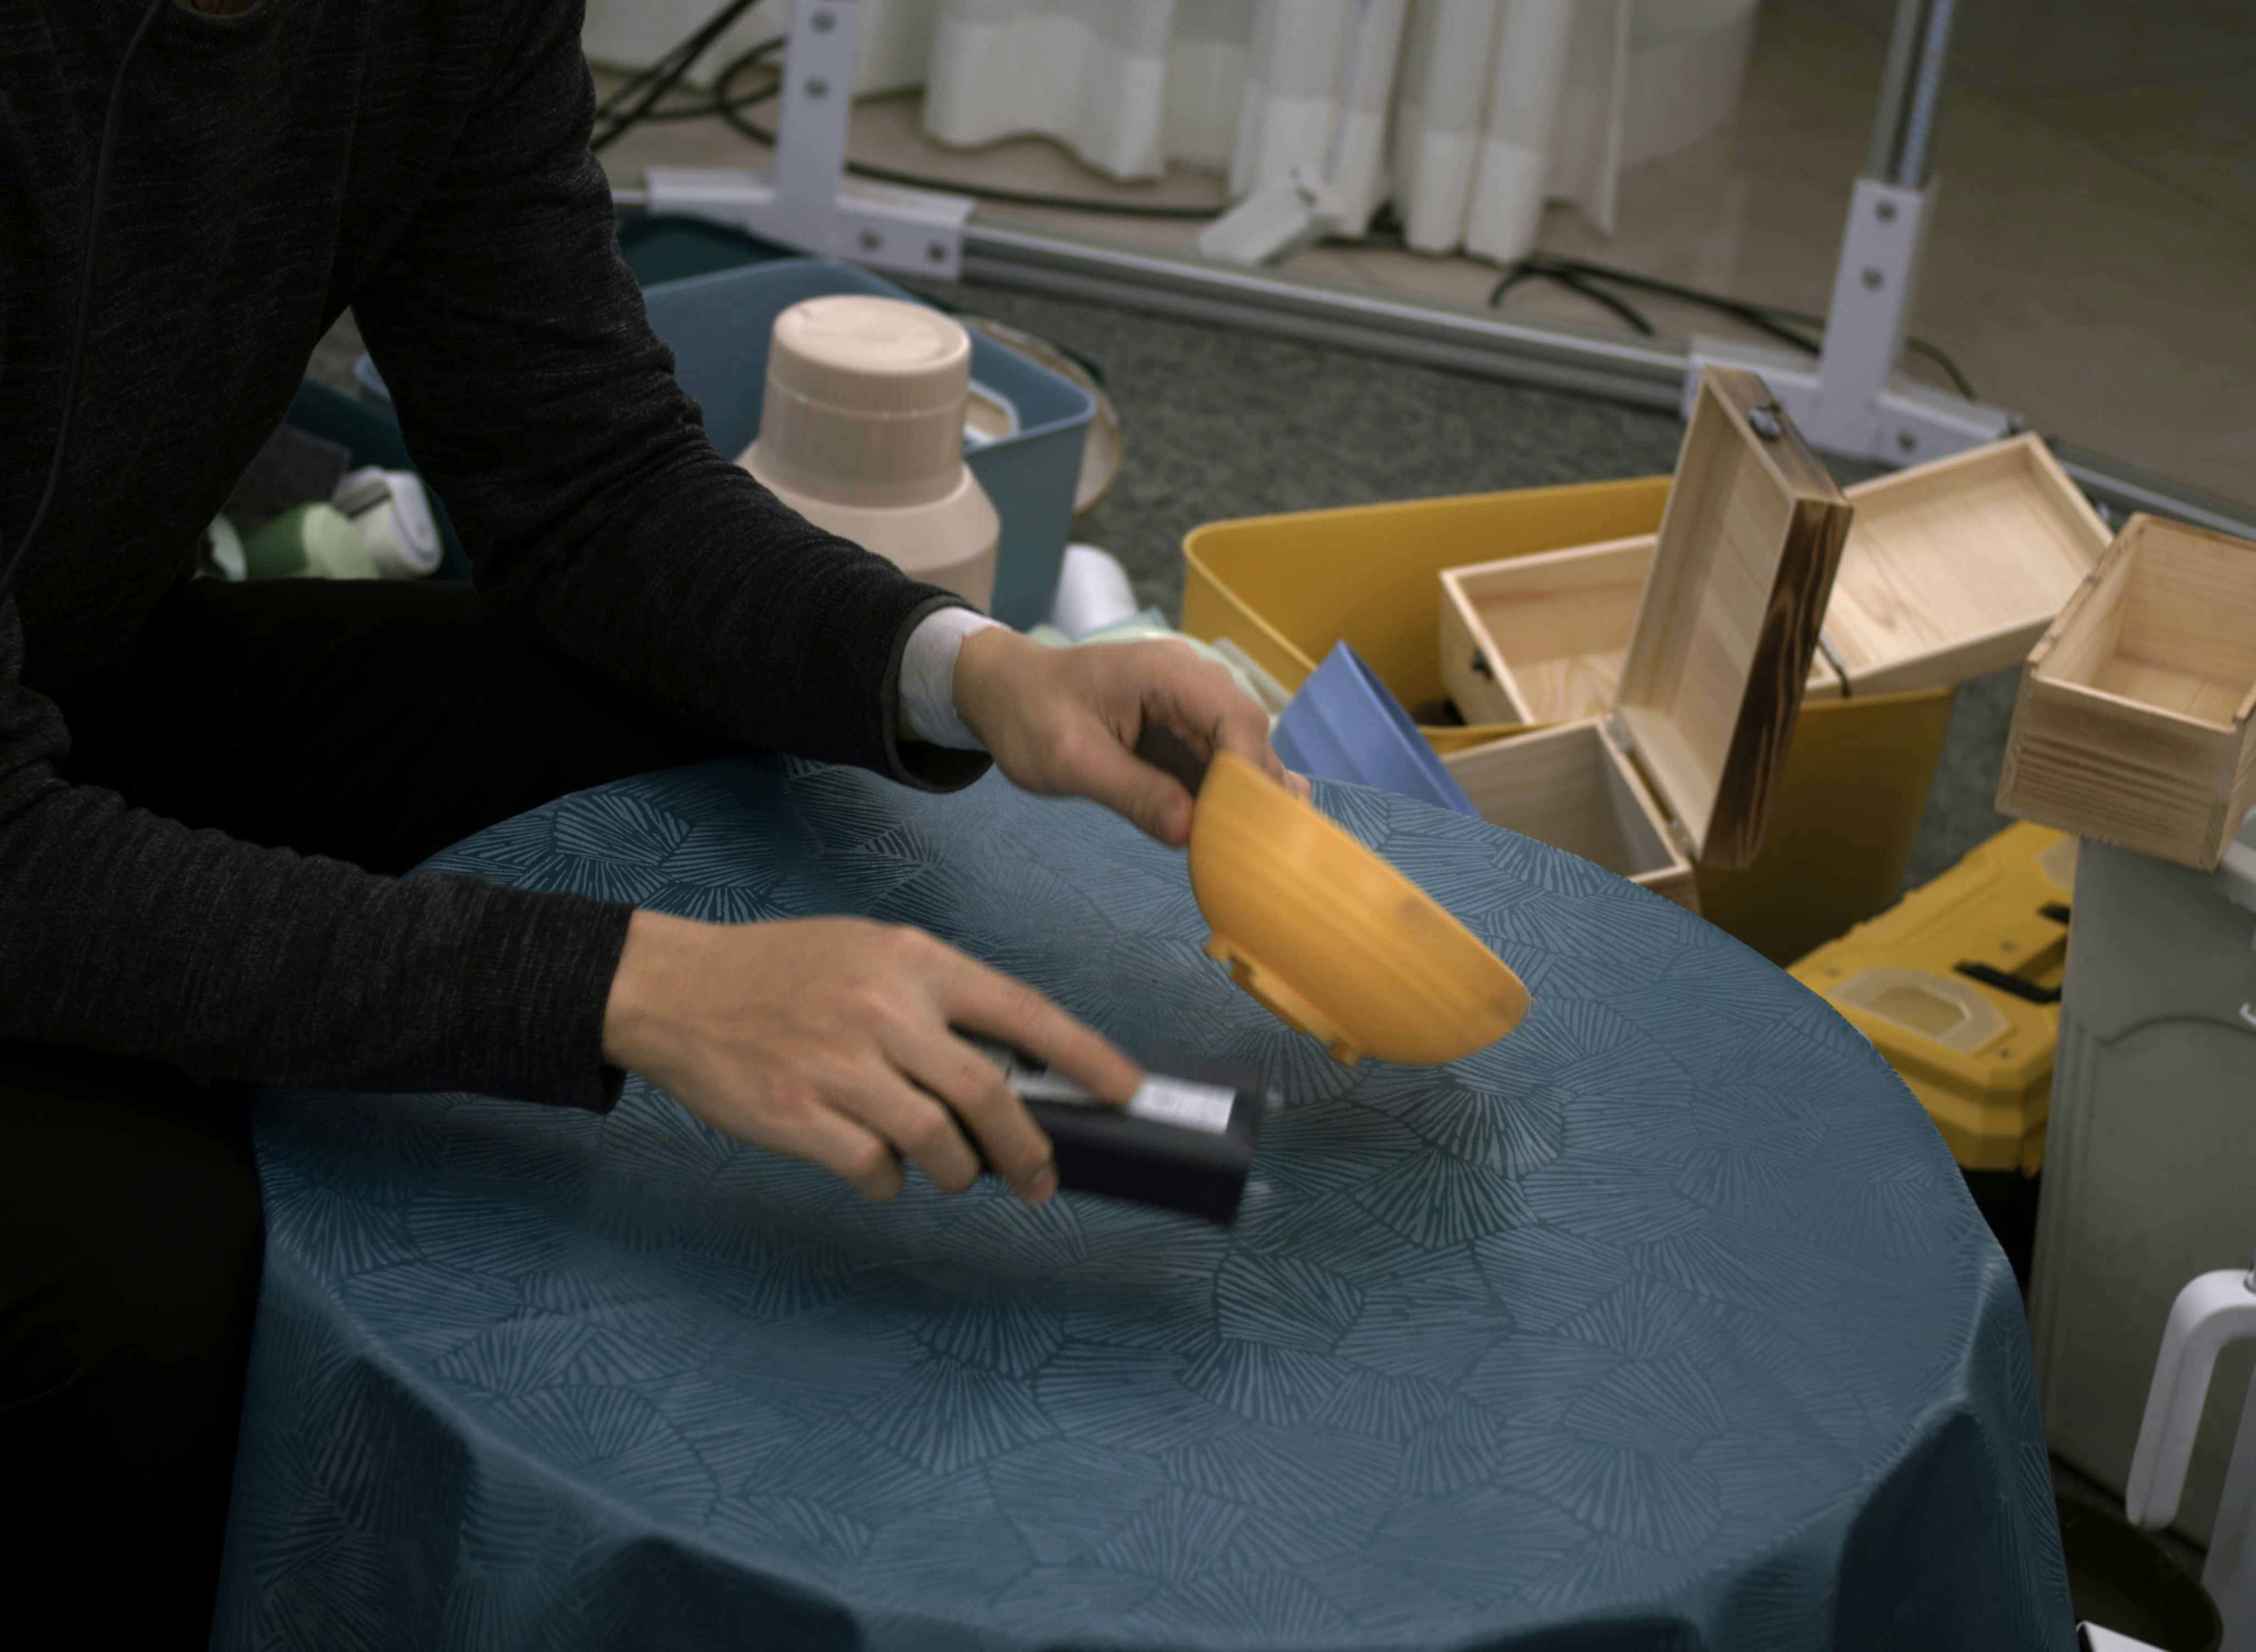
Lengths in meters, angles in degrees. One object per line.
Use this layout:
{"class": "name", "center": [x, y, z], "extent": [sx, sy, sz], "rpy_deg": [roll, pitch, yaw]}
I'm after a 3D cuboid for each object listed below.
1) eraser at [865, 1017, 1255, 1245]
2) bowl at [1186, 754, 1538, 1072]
{"class": "eraser", "center": [-0.022, 0.099, 1.728], "extent": [0.125, 0.030, 0.054], "rpy_deg": [12, 37, -1]}
{"class": "bowl", "center": [0.069, 0.043, 1.849], "extent": [0.145, 0.060, 0.145], "rpy_deg": [38, -3, 2]}
